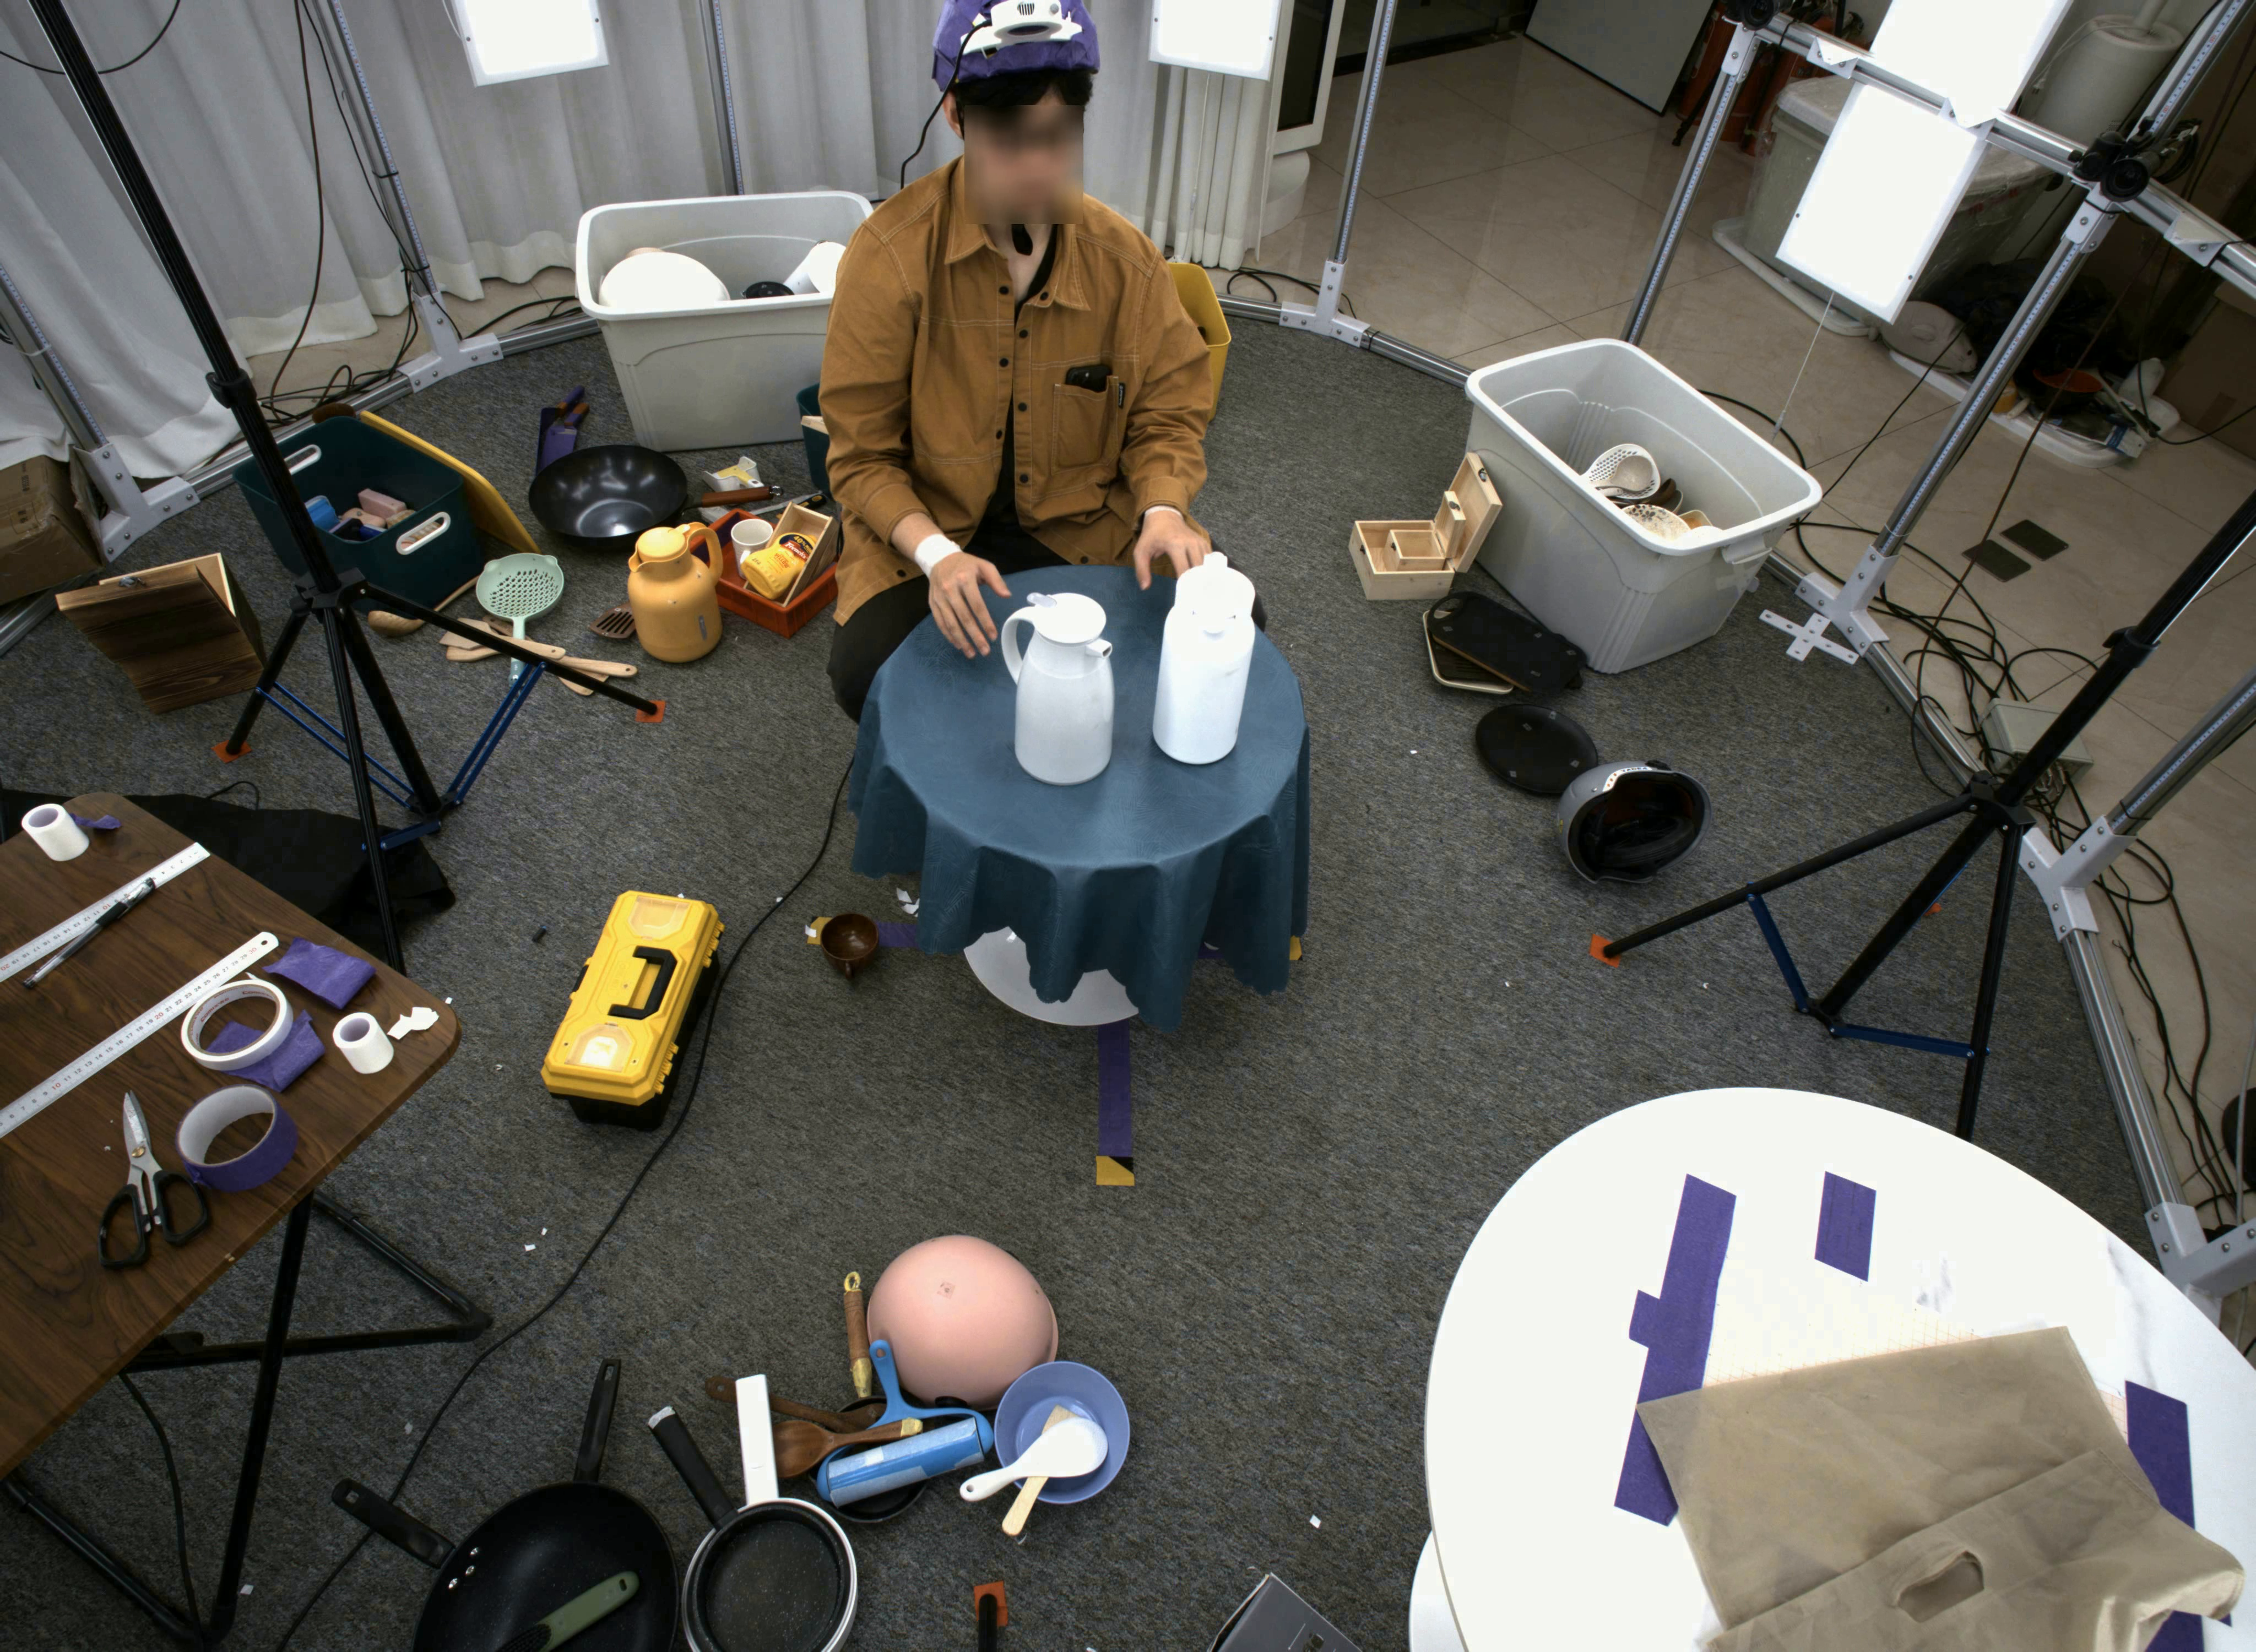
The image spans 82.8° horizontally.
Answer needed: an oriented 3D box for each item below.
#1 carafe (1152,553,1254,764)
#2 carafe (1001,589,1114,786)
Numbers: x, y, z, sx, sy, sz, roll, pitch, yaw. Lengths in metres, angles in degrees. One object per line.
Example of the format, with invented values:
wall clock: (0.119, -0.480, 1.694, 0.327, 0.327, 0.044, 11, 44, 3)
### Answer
carafe: (0.099, -0.223, 1.696, 0.124, 0.262, 0.177, 3, 49, 1)
carafe: (-0.097, -0.192, 1.668, 0.170, 0.242, 0.134, 32, 54, 23)
